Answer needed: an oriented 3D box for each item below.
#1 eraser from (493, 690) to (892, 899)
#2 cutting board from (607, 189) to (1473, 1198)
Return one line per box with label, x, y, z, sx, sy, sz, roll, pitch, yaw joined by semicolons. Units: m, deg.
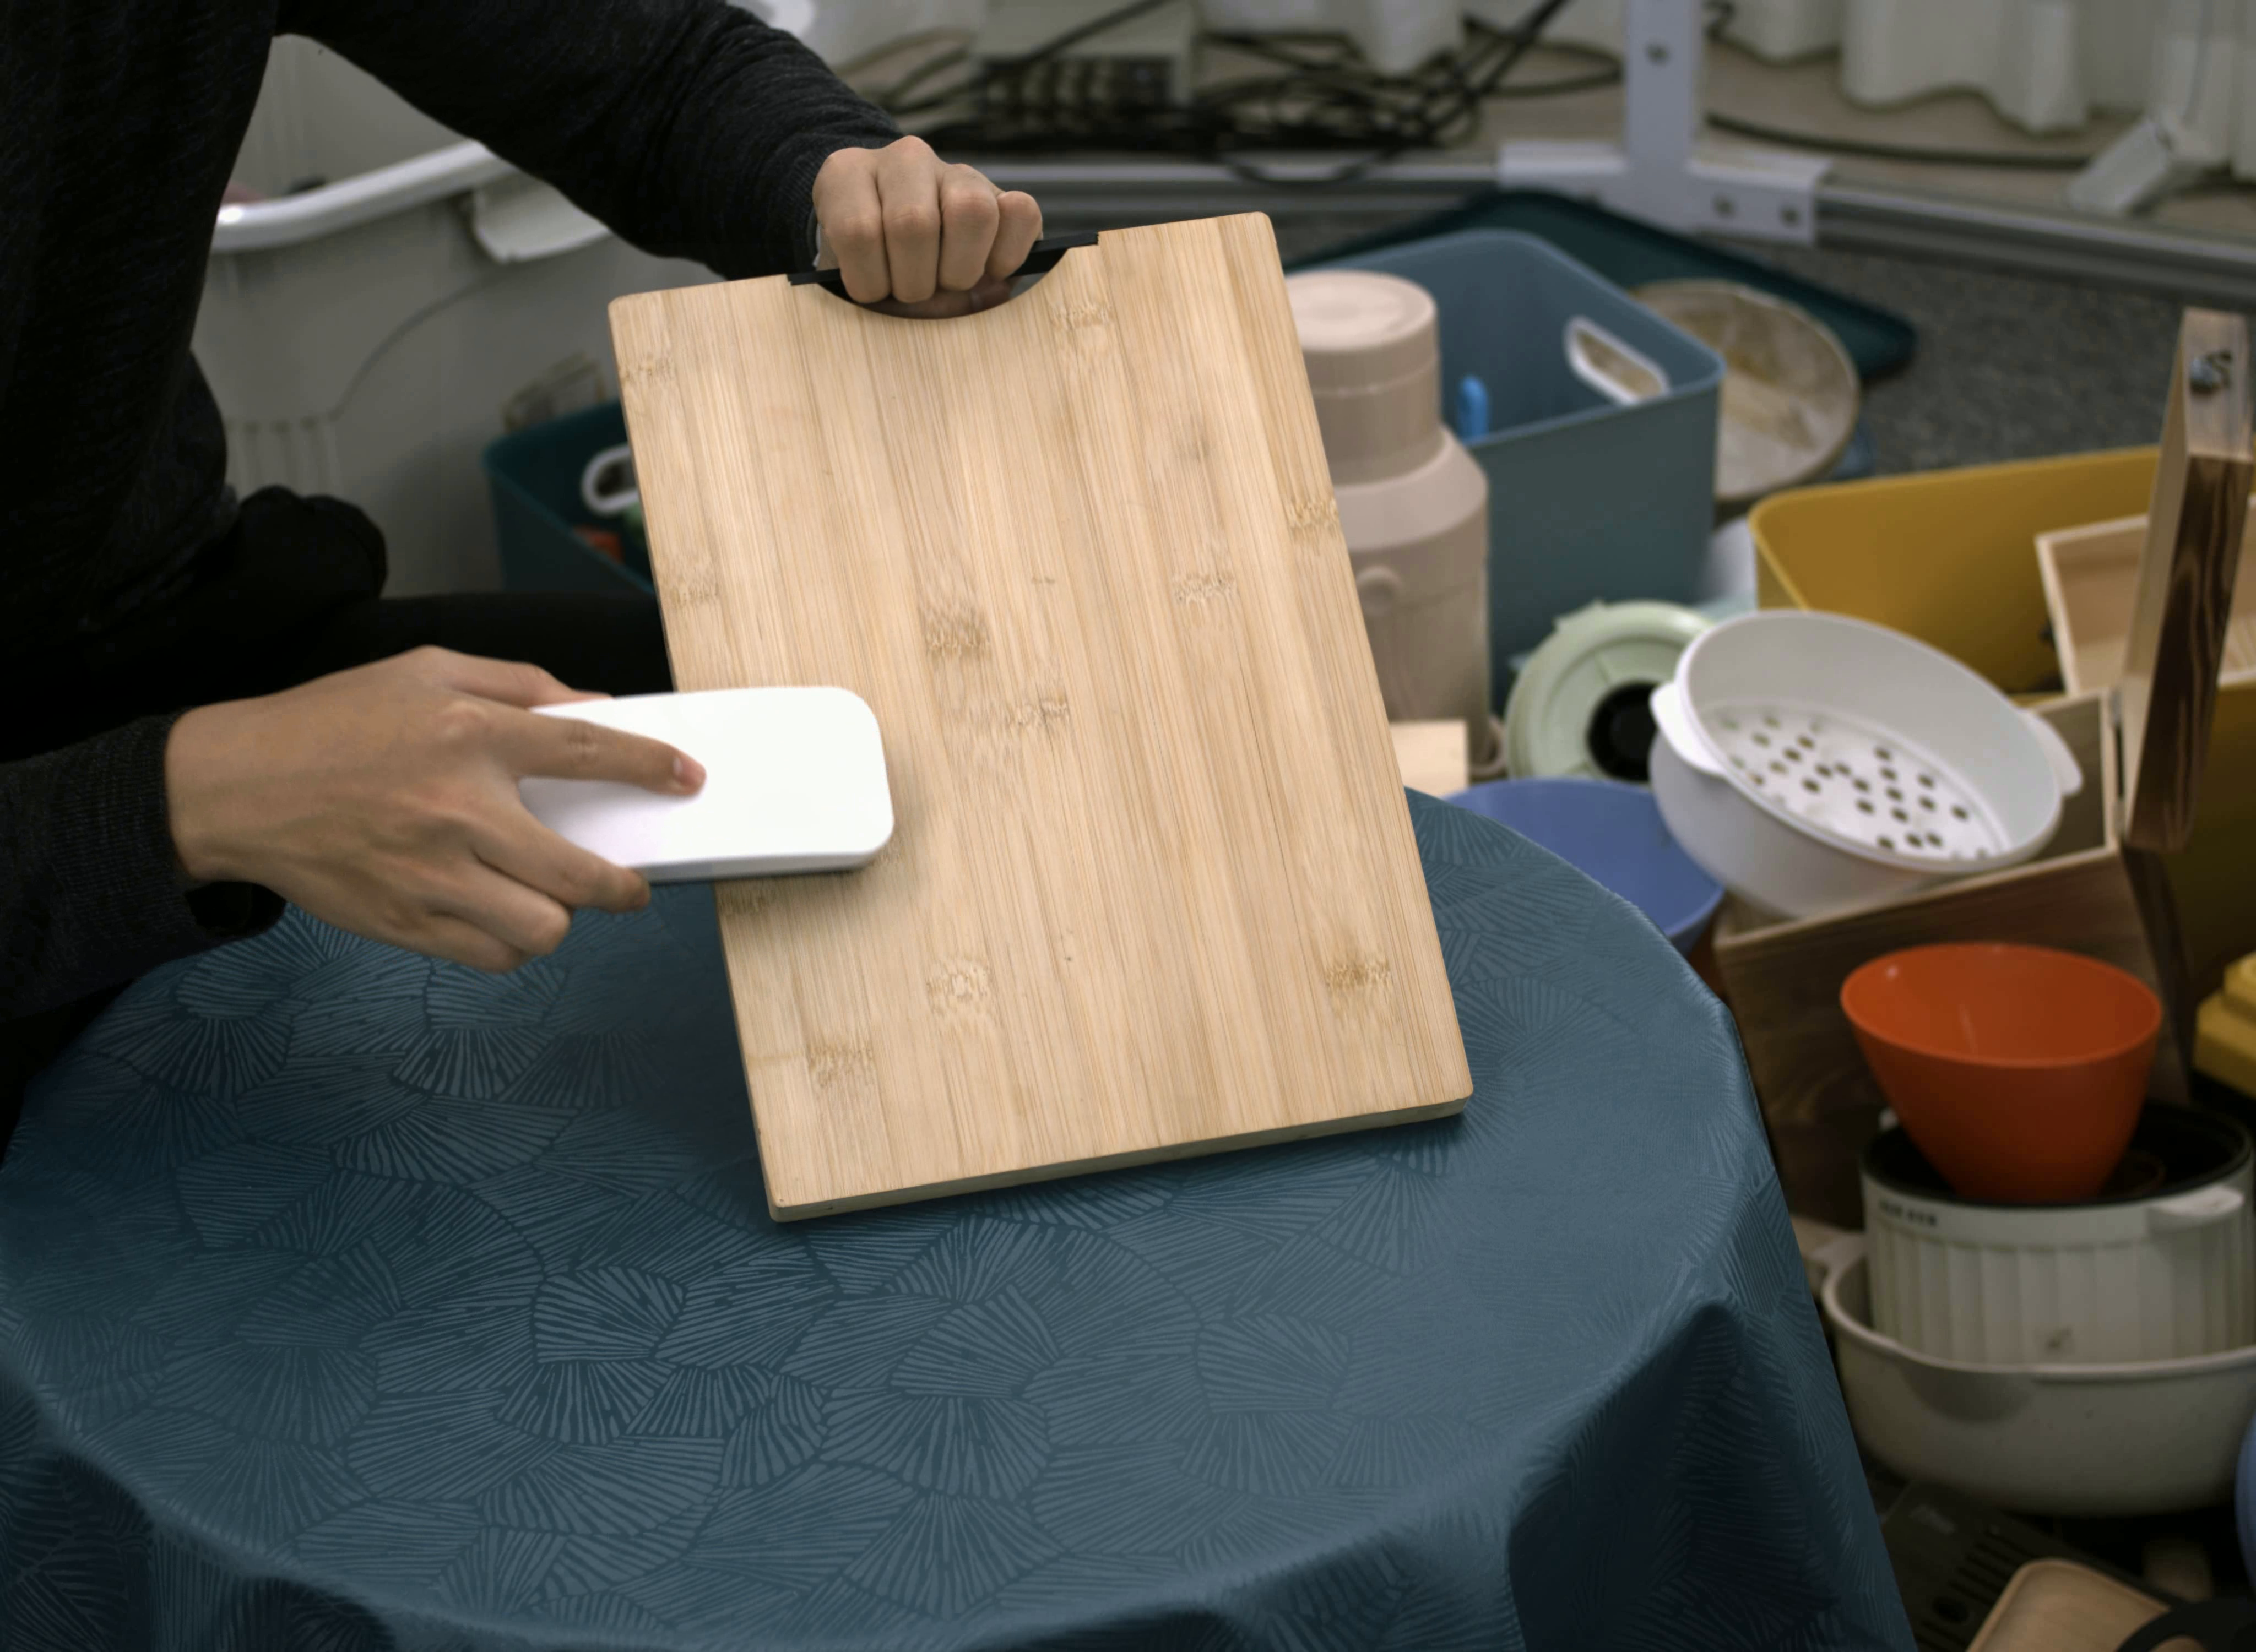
eraser;-0.145;-0.010;1.870;0.131;0.034;0.064;-2;65;-17
cutting board;-0.034;-0.049;1.936;0.250;0.023;0.354;-9;67;-11
